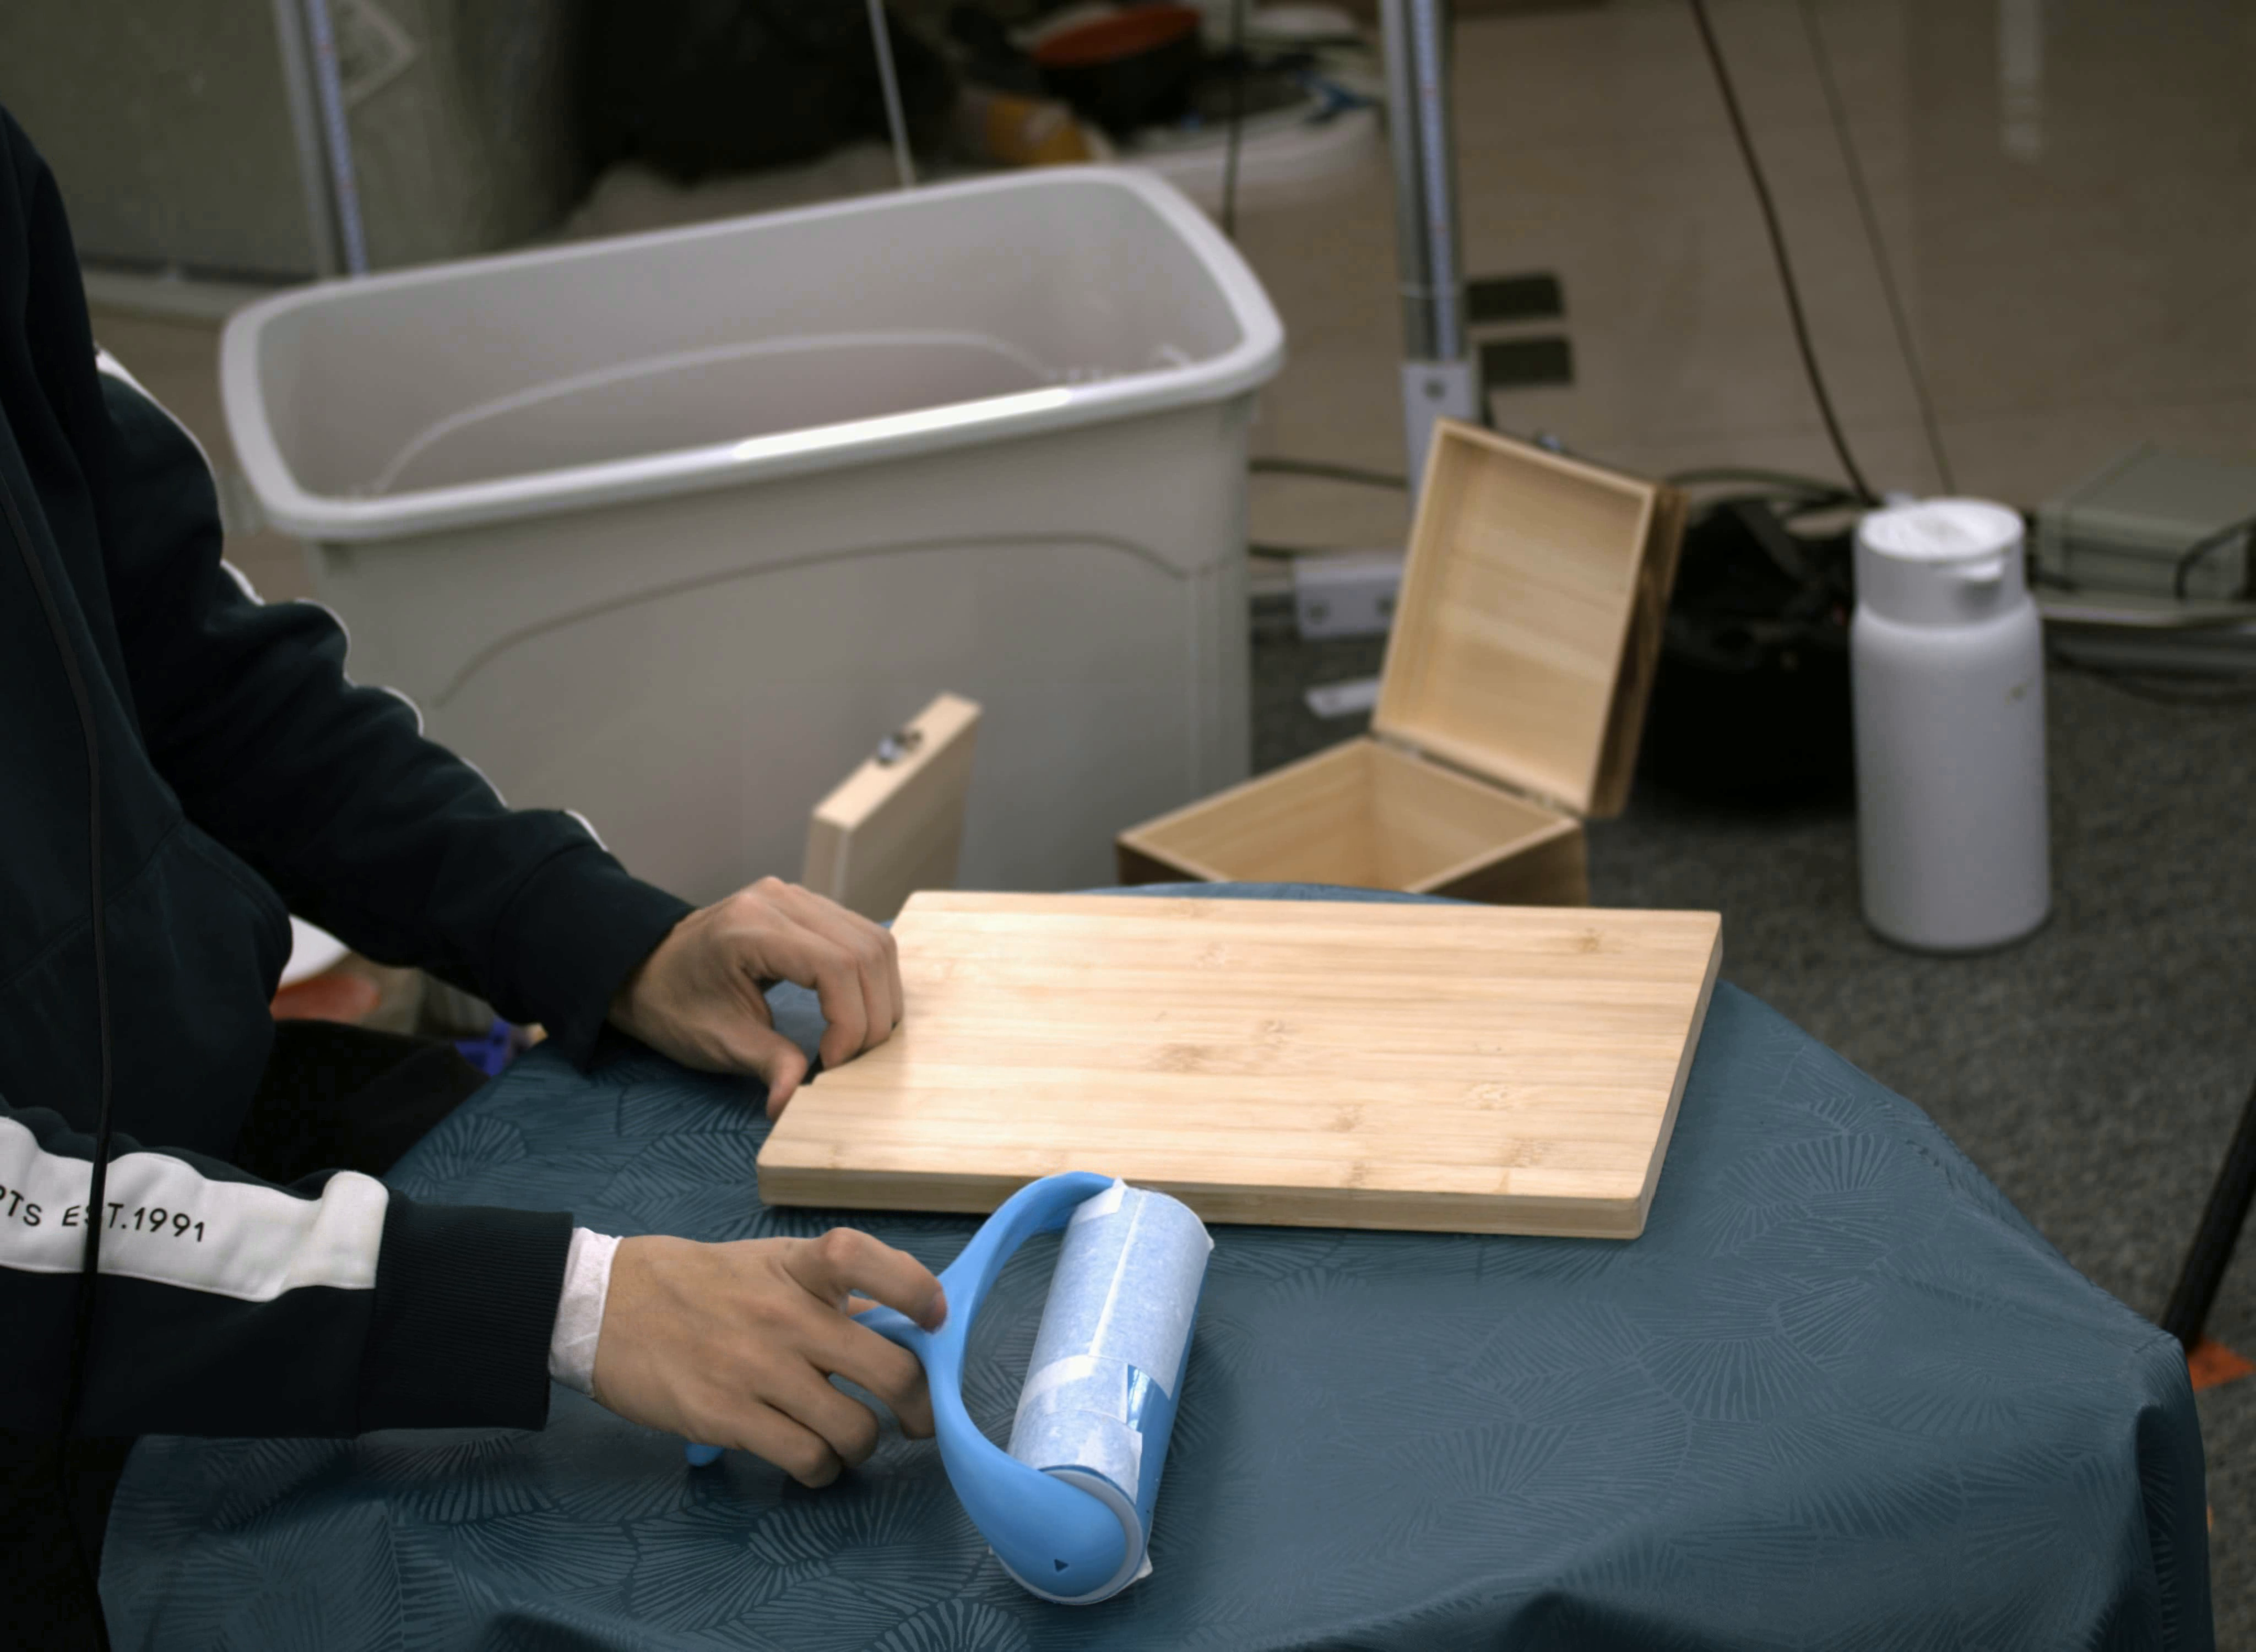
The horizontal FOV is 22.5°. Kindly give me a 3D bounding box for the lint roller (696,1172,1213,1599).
[{"bbox_3d":[-0.066,0.195,1.971,0.180,0.069,0.225,-3,26,6],"label":"lint roller"}]

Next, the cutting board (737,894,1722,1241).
[{"bbox_3d":[0.045,0.090,2.213,0.348,0.024,0.247,1,26,13],"label":"cutting board"}]
